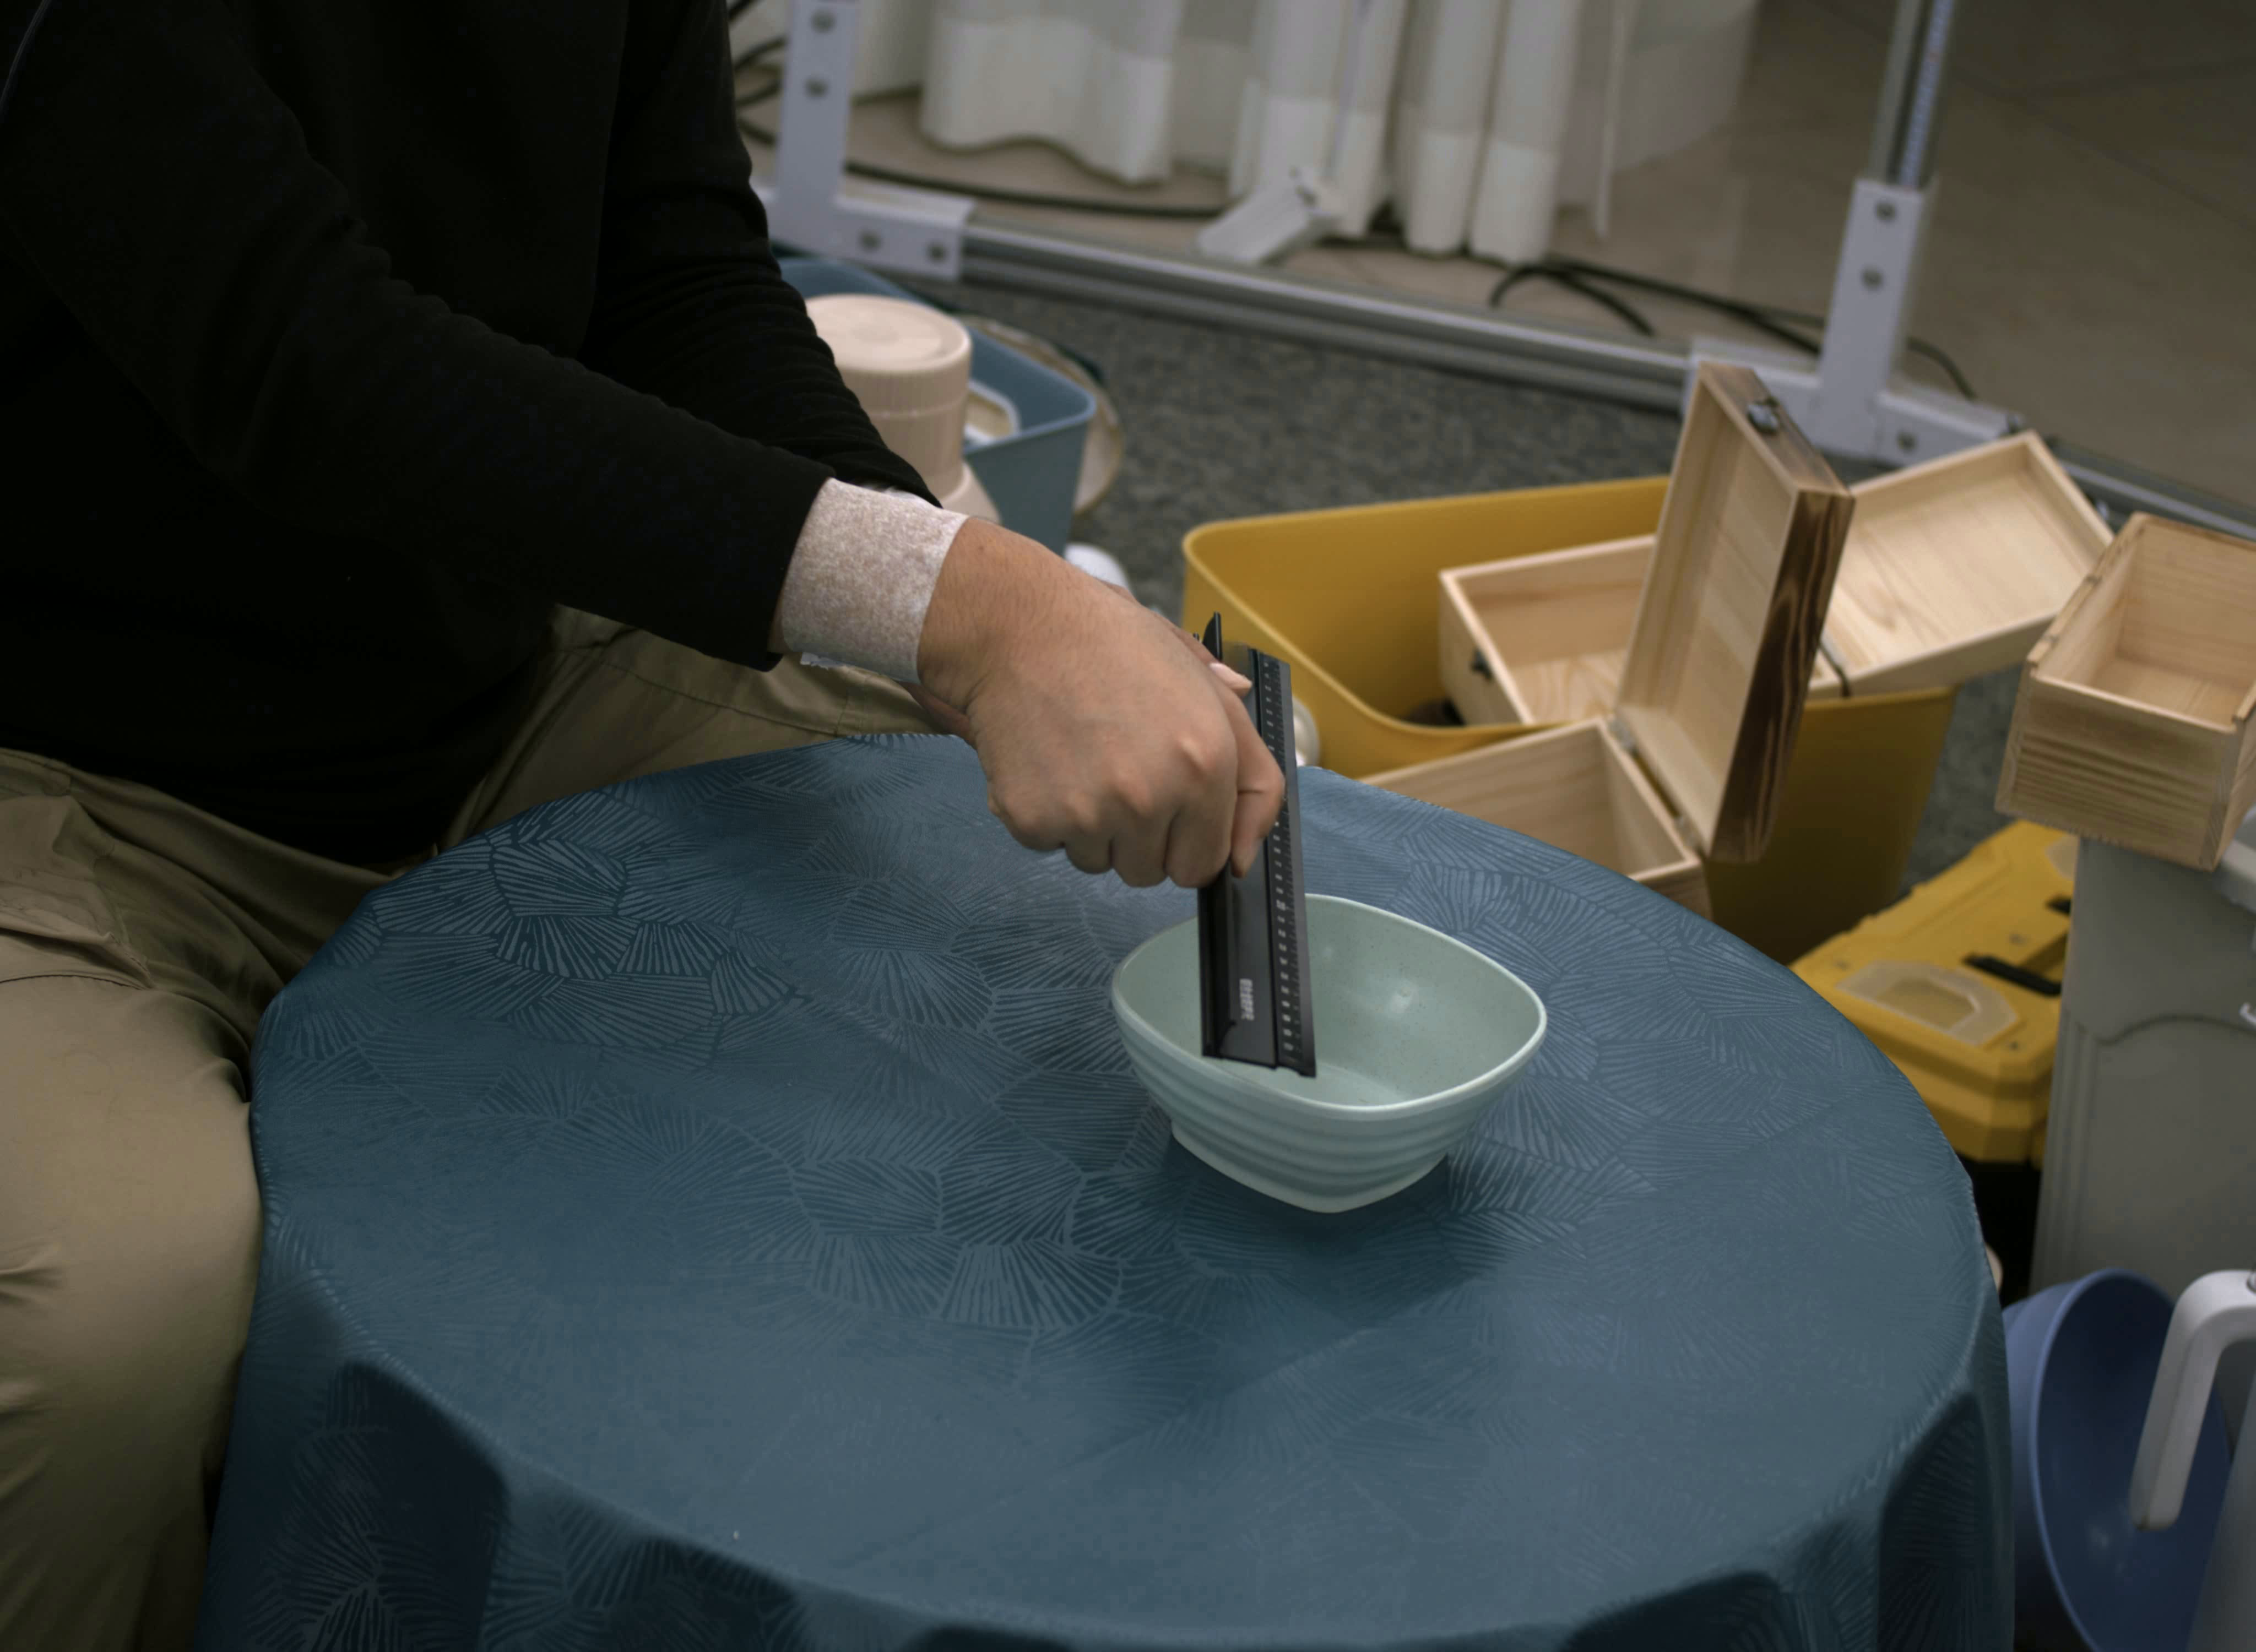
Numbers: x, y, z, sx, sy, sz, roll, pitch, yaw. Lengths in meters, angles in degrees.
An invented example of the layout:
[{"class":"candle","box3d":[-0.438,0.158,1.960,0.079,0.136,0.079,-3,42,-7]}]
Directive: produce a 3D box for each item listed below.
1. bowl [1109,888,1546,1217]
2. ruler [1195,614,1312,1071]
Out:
[{"class":"bowl","box3d":[0.065,0.084,1.833,0.151,0.058,0.152,6,29,-3]},{"class":"ruler","box3d":[0.044,0.000,1.836,0.039,0.017,0.314,14,26,-7]}]
